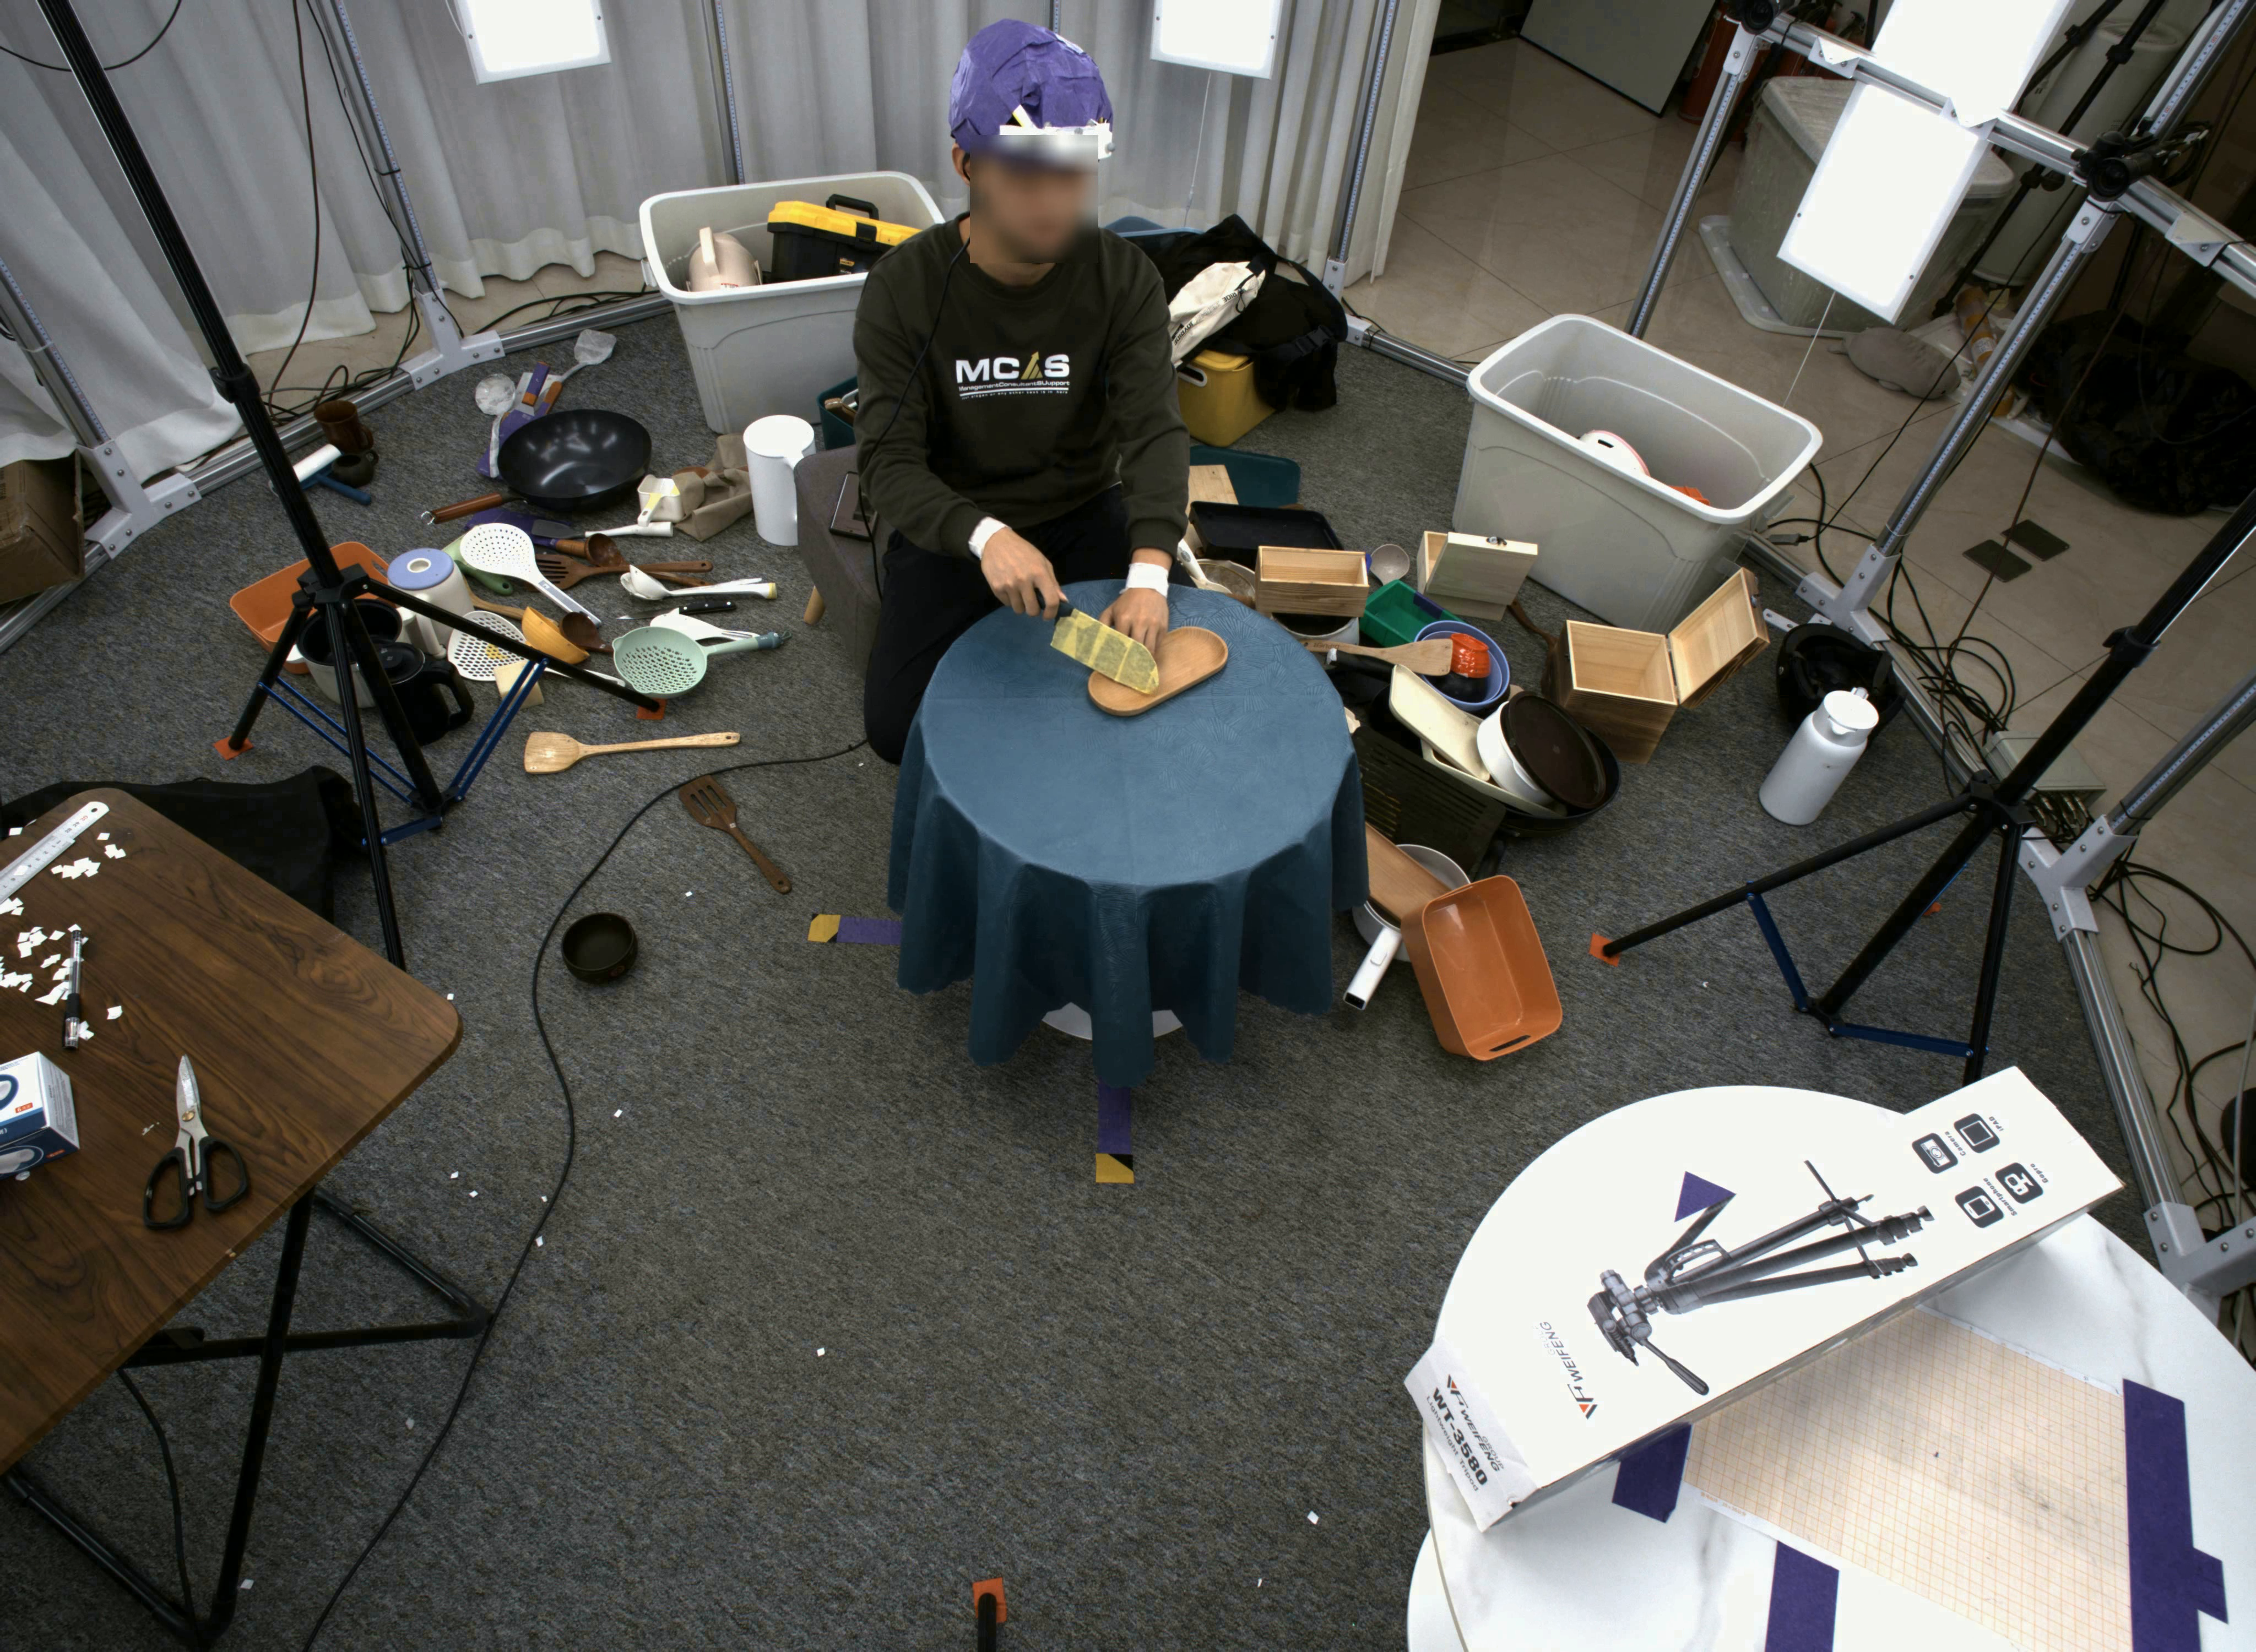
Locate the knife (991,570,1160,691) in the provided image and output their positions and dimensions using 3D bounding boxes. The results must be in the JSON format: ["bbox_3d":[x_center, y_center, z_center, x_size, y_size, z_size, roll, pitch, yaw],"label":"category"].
[{"bbox_3d":[-0.076,-0.277,1.826,0.291,0.079,0.027,33,34,9],"label":"knife"}]

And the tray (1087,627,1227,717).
[{"bbox_3d":[0.043,-0.223,1.853,0.232,0.020,0.103,-31,56,-25],"label":"tray"}]
